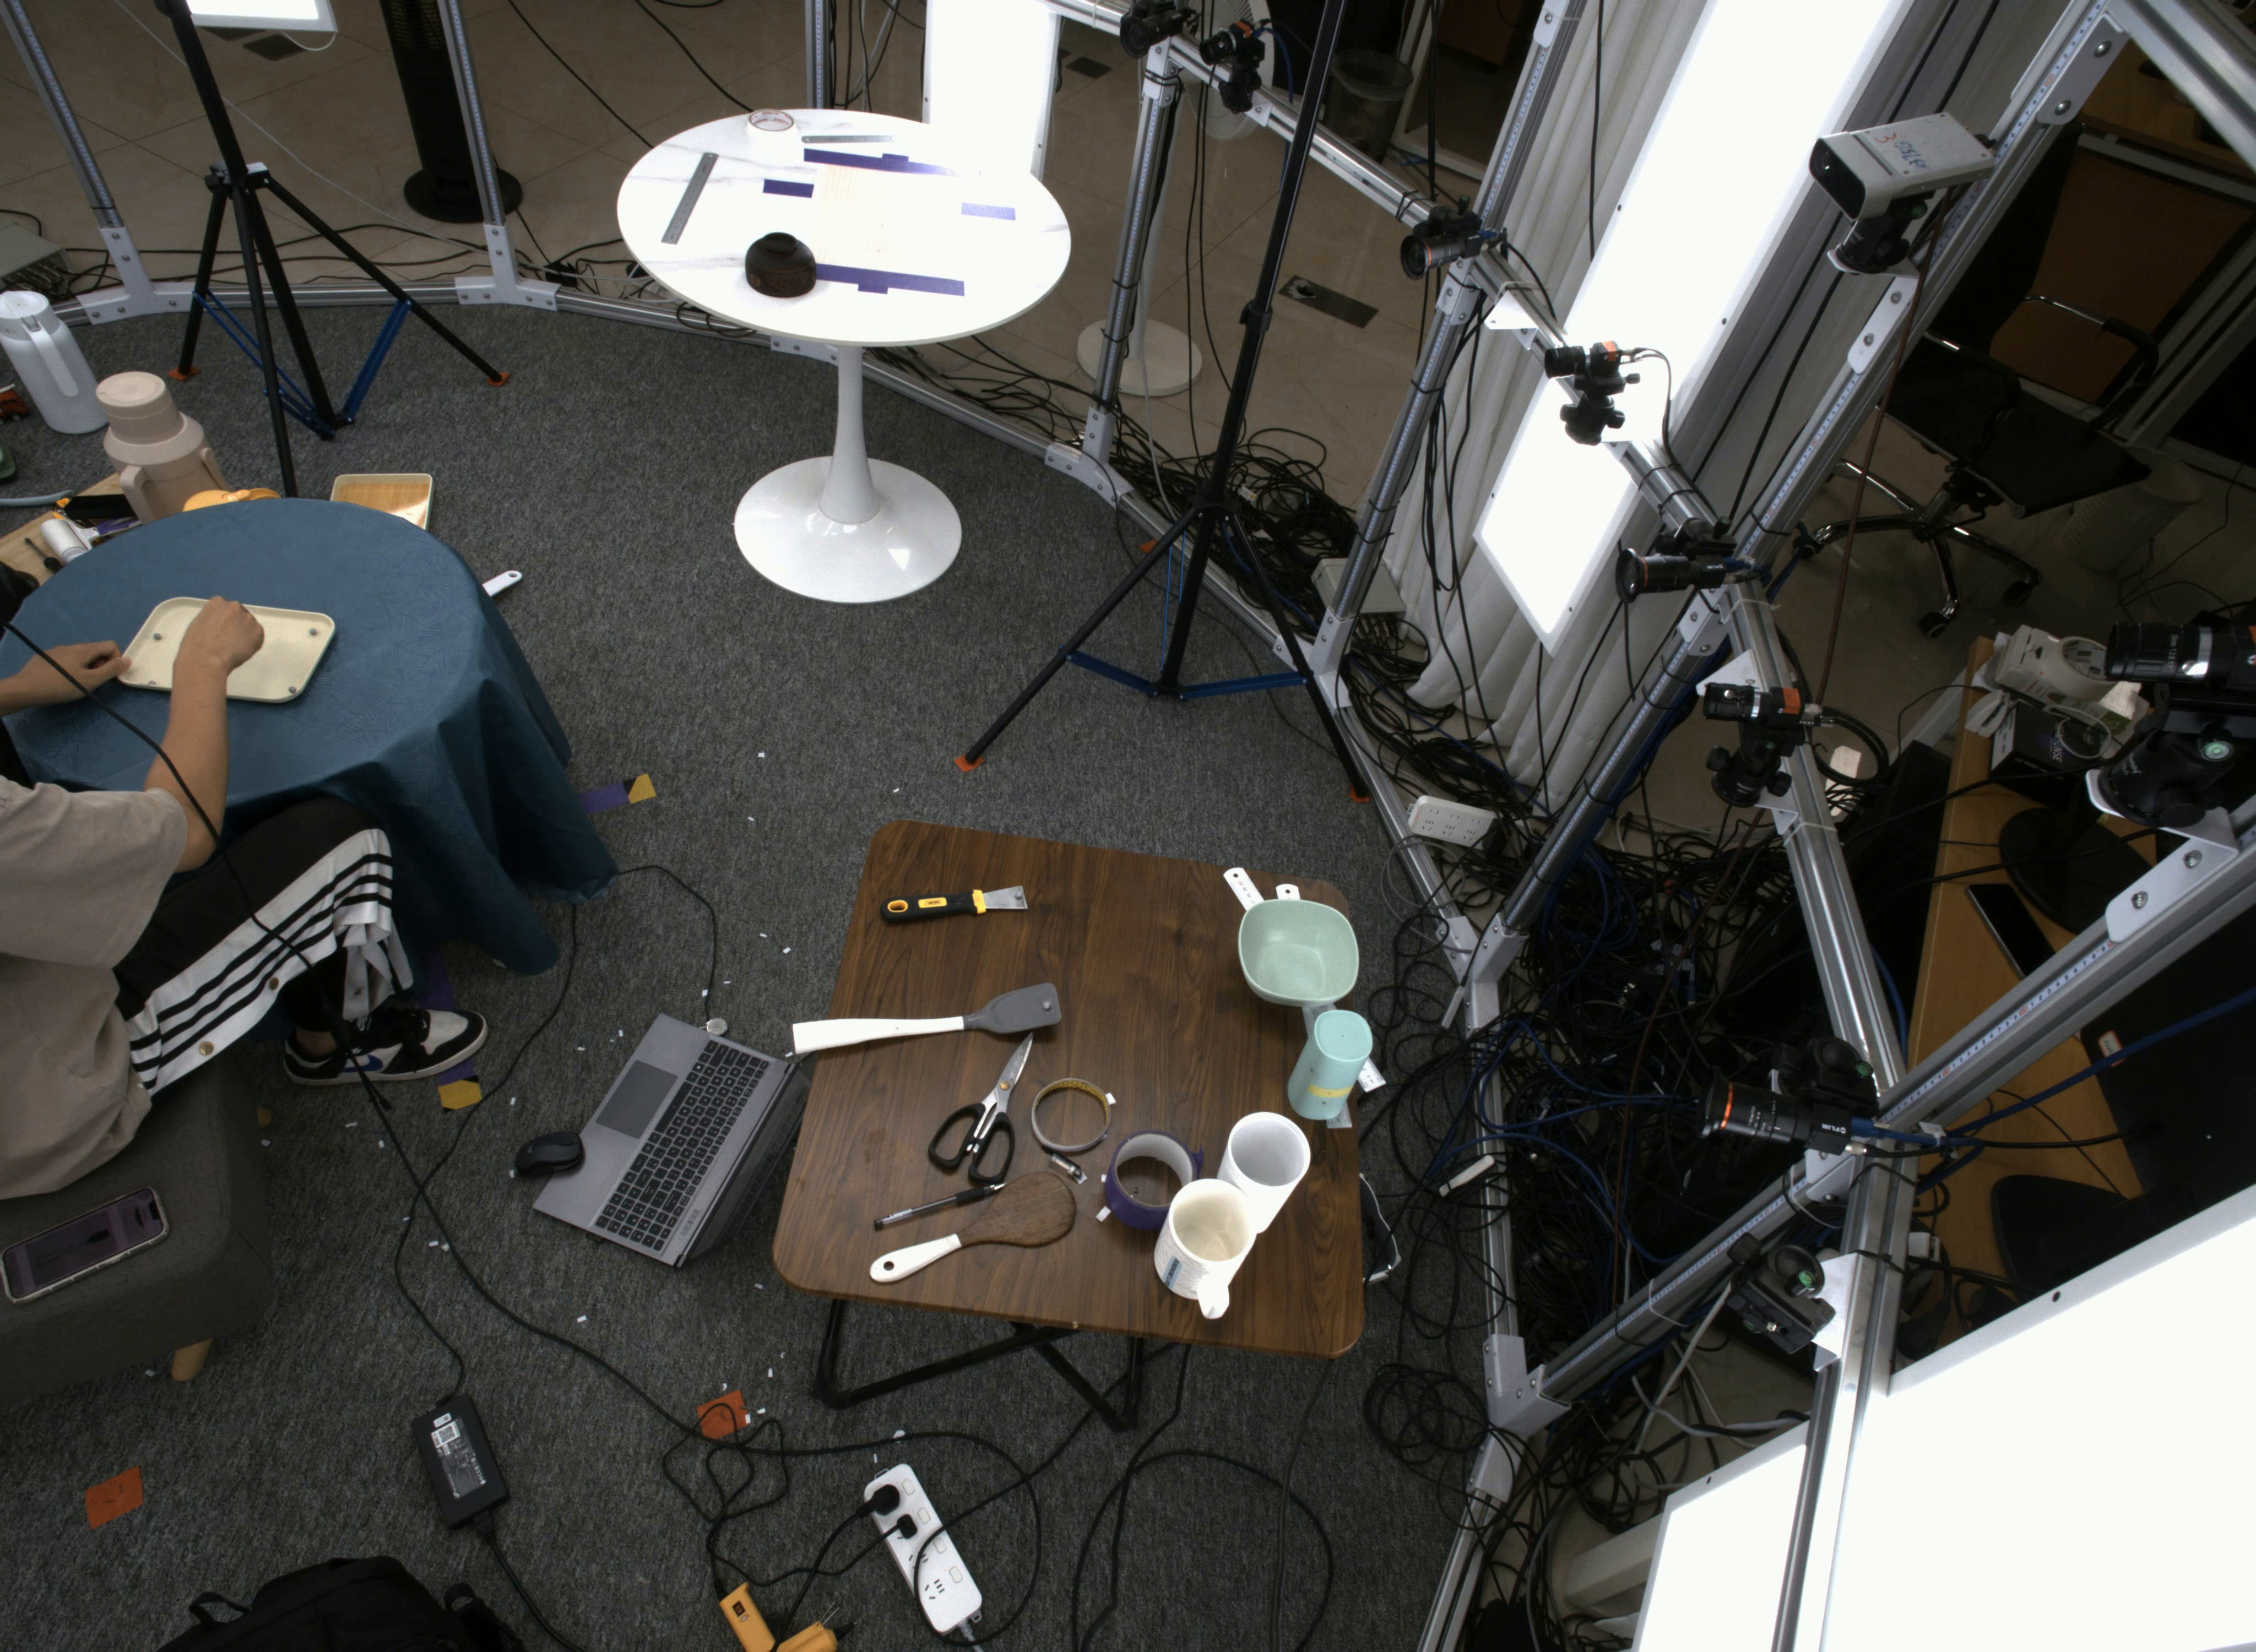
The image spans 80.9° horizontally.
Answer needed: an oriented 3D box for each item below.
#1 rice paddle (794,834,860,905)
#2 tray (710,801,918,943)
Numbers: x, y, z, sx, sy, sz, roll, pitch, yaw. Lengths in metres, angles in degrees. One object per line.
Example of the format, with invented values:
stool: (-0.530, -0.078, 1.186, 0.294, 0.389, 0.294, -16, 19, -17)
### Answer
rice paddle: (-0.360, 0.041, 1.567, 0.069, 0.030, 0.198, -5, 22, -22)
tray: (-0.406, 0.058, 1.685, 0.237, 0.018, 0.169, 18, 51, 1)
